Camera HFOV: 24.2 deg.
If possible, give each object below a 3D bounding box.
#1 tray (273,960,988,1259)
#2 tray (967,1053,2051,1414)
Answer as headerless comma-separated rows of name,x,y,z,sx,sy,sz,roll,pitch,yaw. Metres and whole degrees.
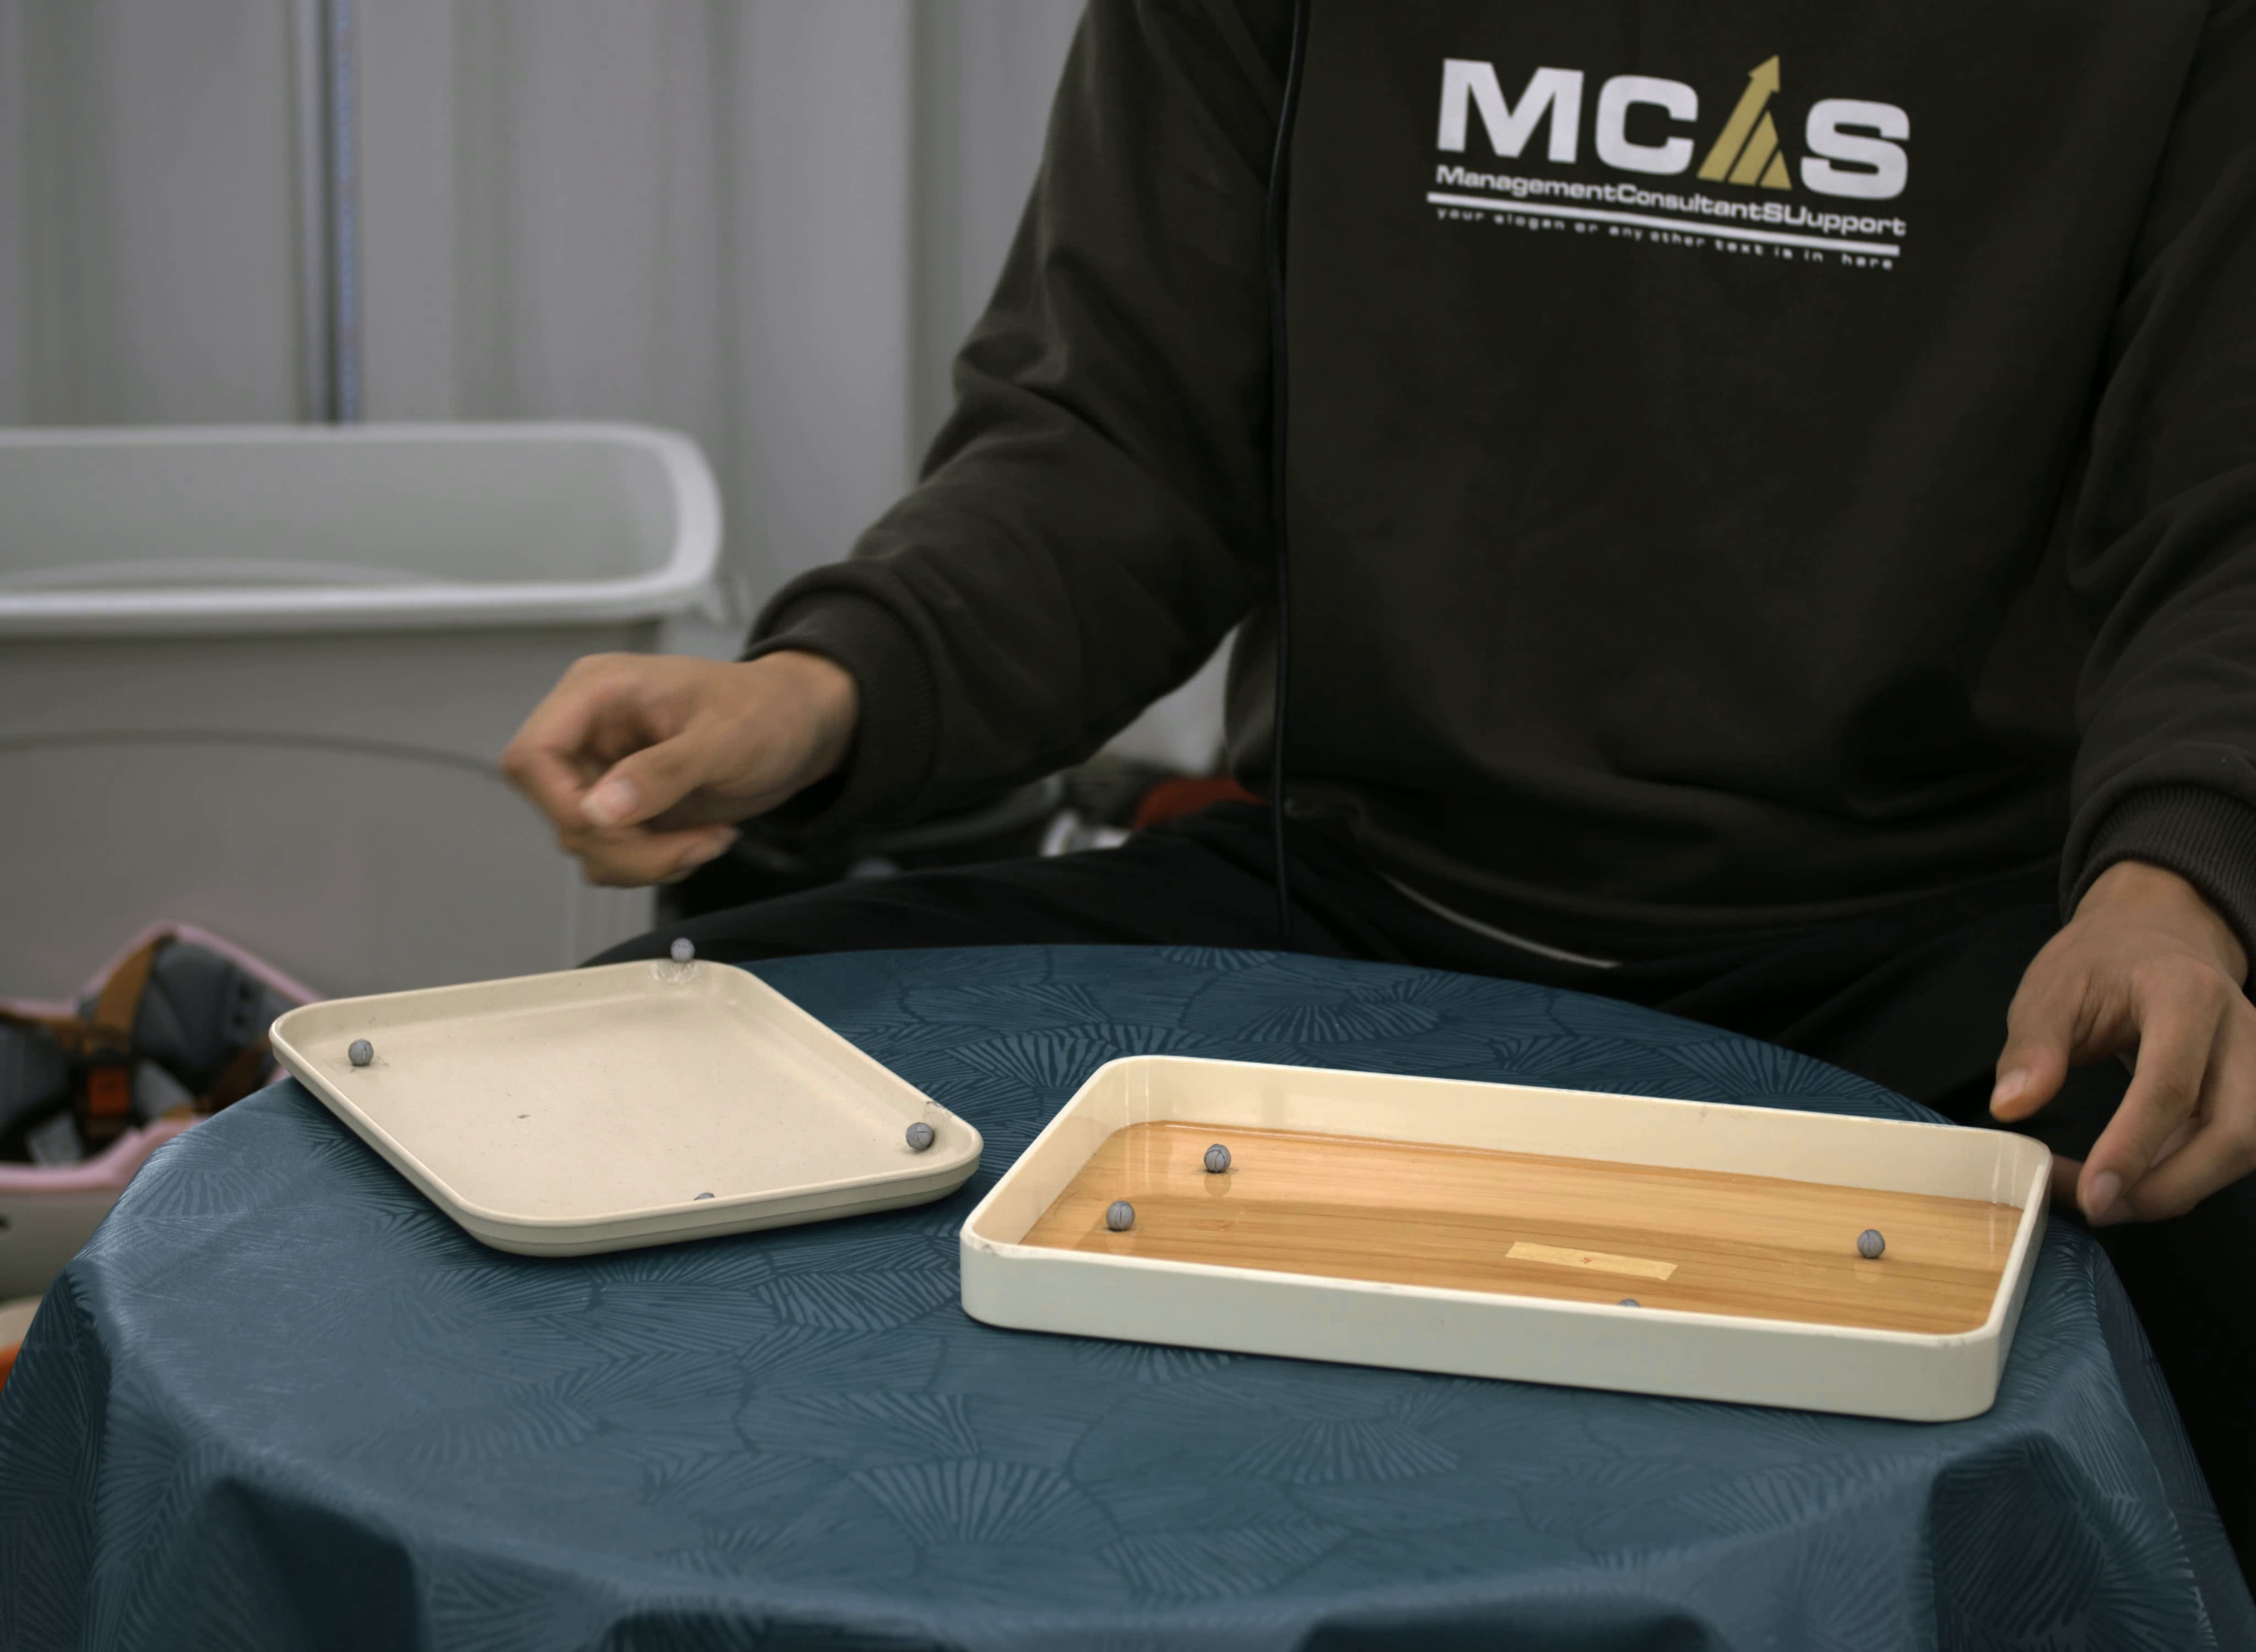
tray,-0.161,0.088,1.675,0.172,0.017,0.237,-7,17,-26
tray,0.117,0.118,1.566,0.298,0.027,0.191,5,15,13
